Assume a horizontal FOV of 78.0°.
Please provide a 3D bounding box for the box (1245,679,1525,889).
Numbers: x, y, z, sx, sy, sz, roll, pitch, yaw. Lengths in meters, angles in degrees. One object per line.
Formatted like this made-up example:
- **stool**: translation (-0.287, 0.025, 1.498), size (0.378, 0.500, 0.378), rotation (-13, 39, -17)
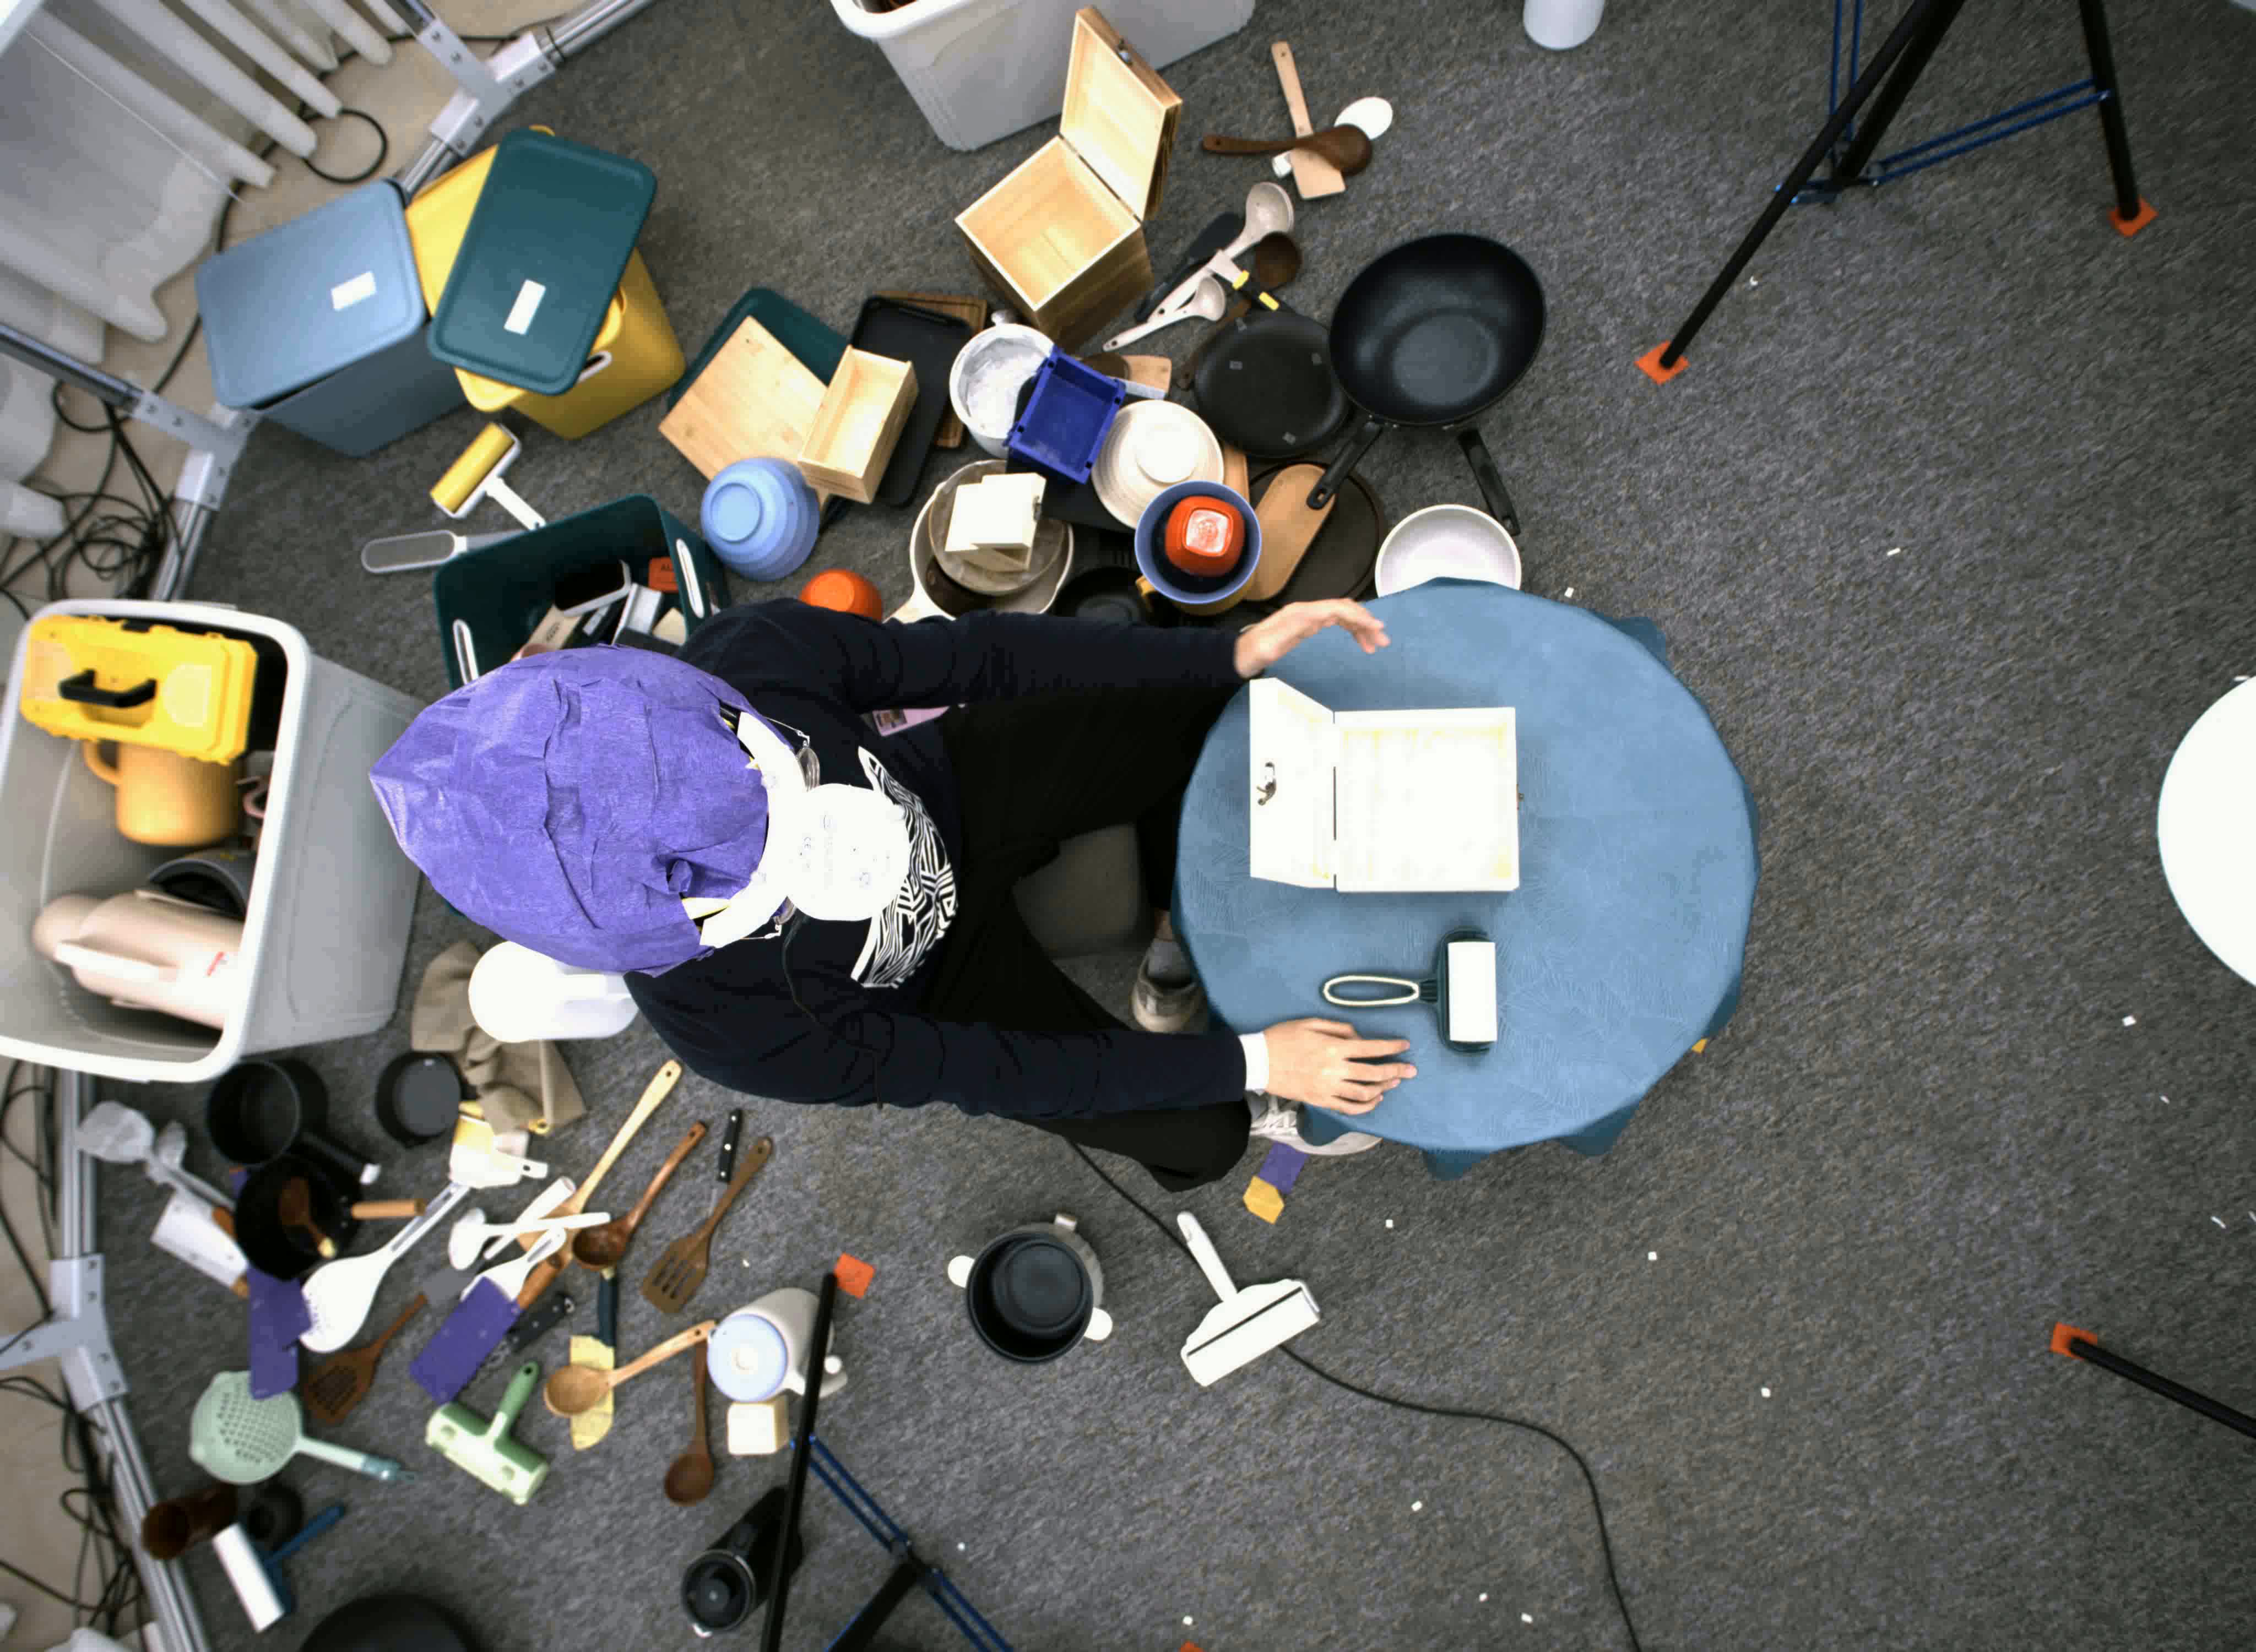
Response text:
- **box**: translation (0.257, -0.036, 1.341), size (0.266, 0.253, 0.181), rotation (-1, 86, 10)

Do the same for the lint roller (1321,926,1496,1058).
- **lint roller**: translation (0.288, 0.170, 1.432), size (0.181, 0.048, 0.134), rotation (-1, 86, 15)
